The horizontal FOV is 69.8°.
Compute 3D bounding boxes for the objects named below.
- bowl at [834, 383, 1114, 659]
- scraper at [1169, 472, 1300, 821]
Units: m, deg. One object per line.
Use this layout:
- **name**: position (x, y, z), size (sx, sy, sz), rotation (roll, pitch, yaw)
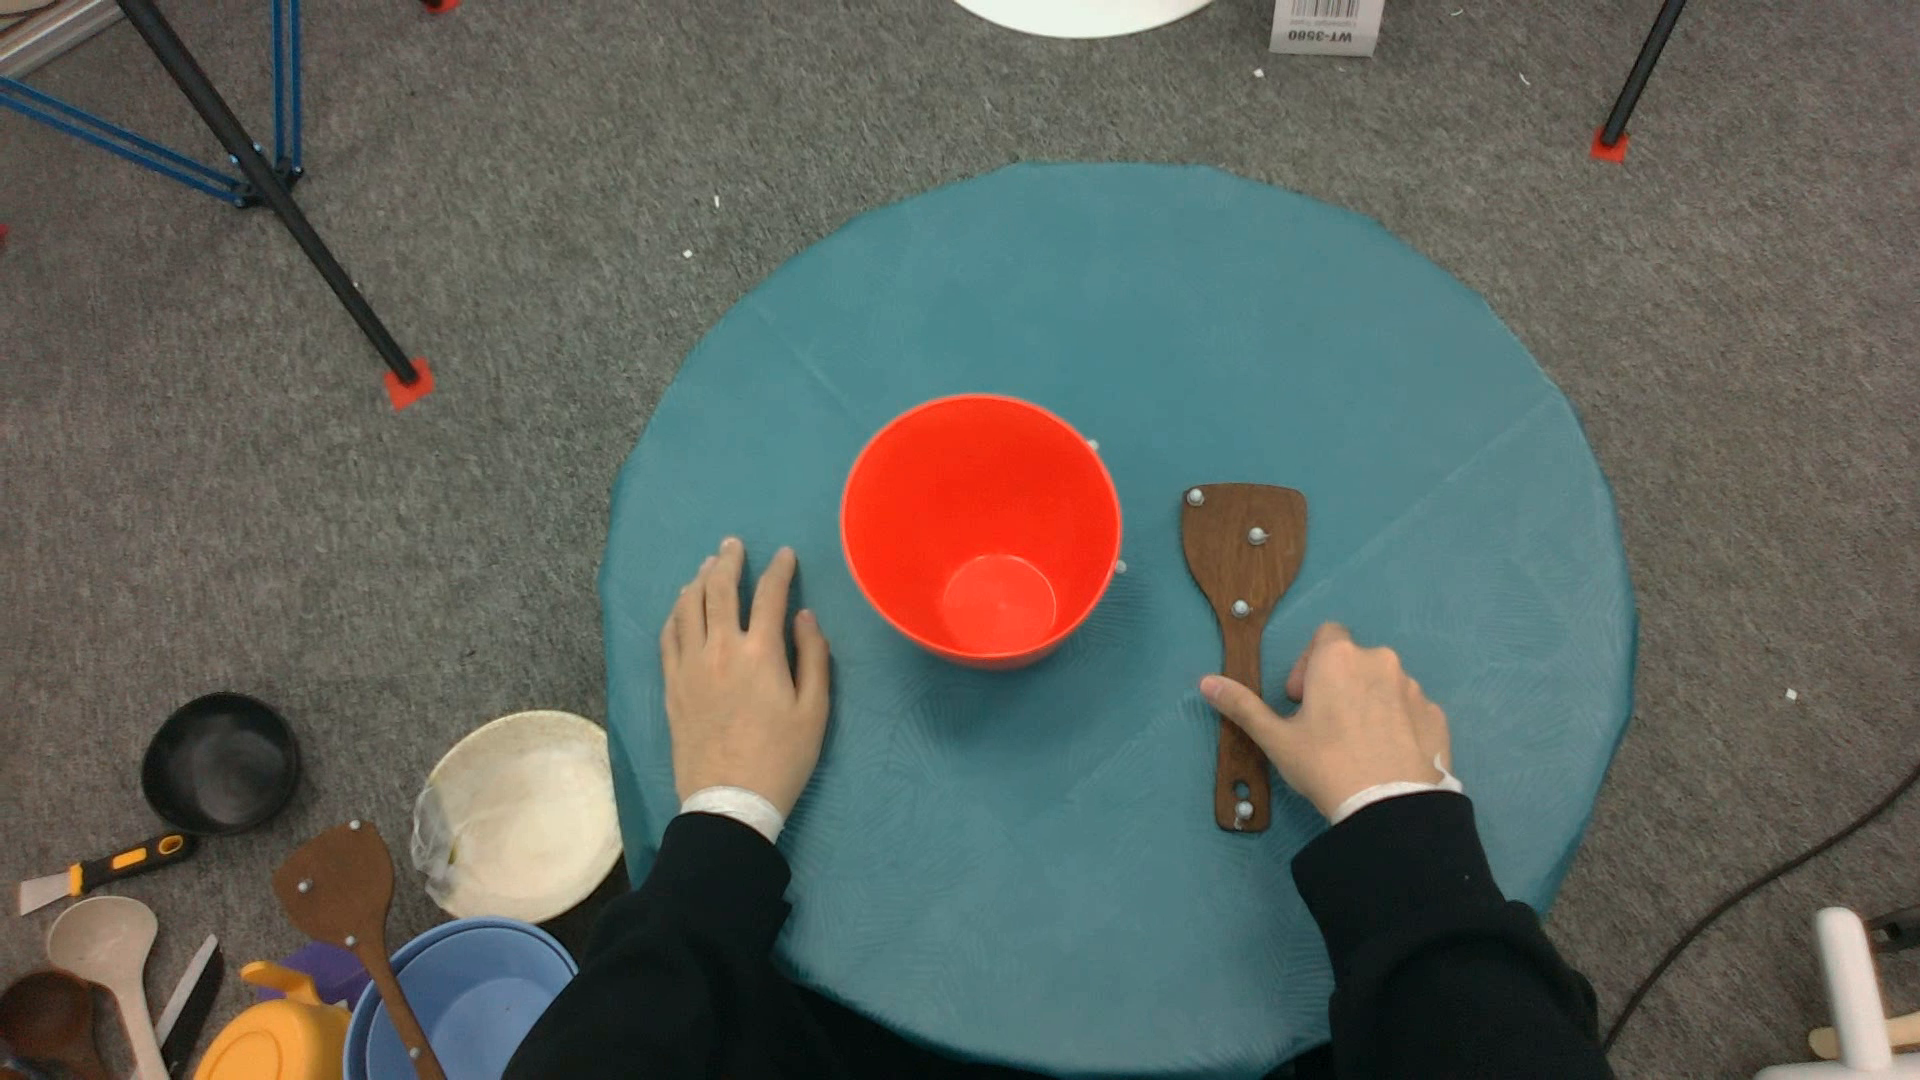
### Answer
- **bowl**: position (0.009, 0.002, 0.758), size (0.148, 0.104, 0.148), rotation (-1, 63, 1)
- **scraper**: position (0.153, 0.054, 0.773), size (0.076, 0.011, 0.212), rotation (3, 62, 7)
